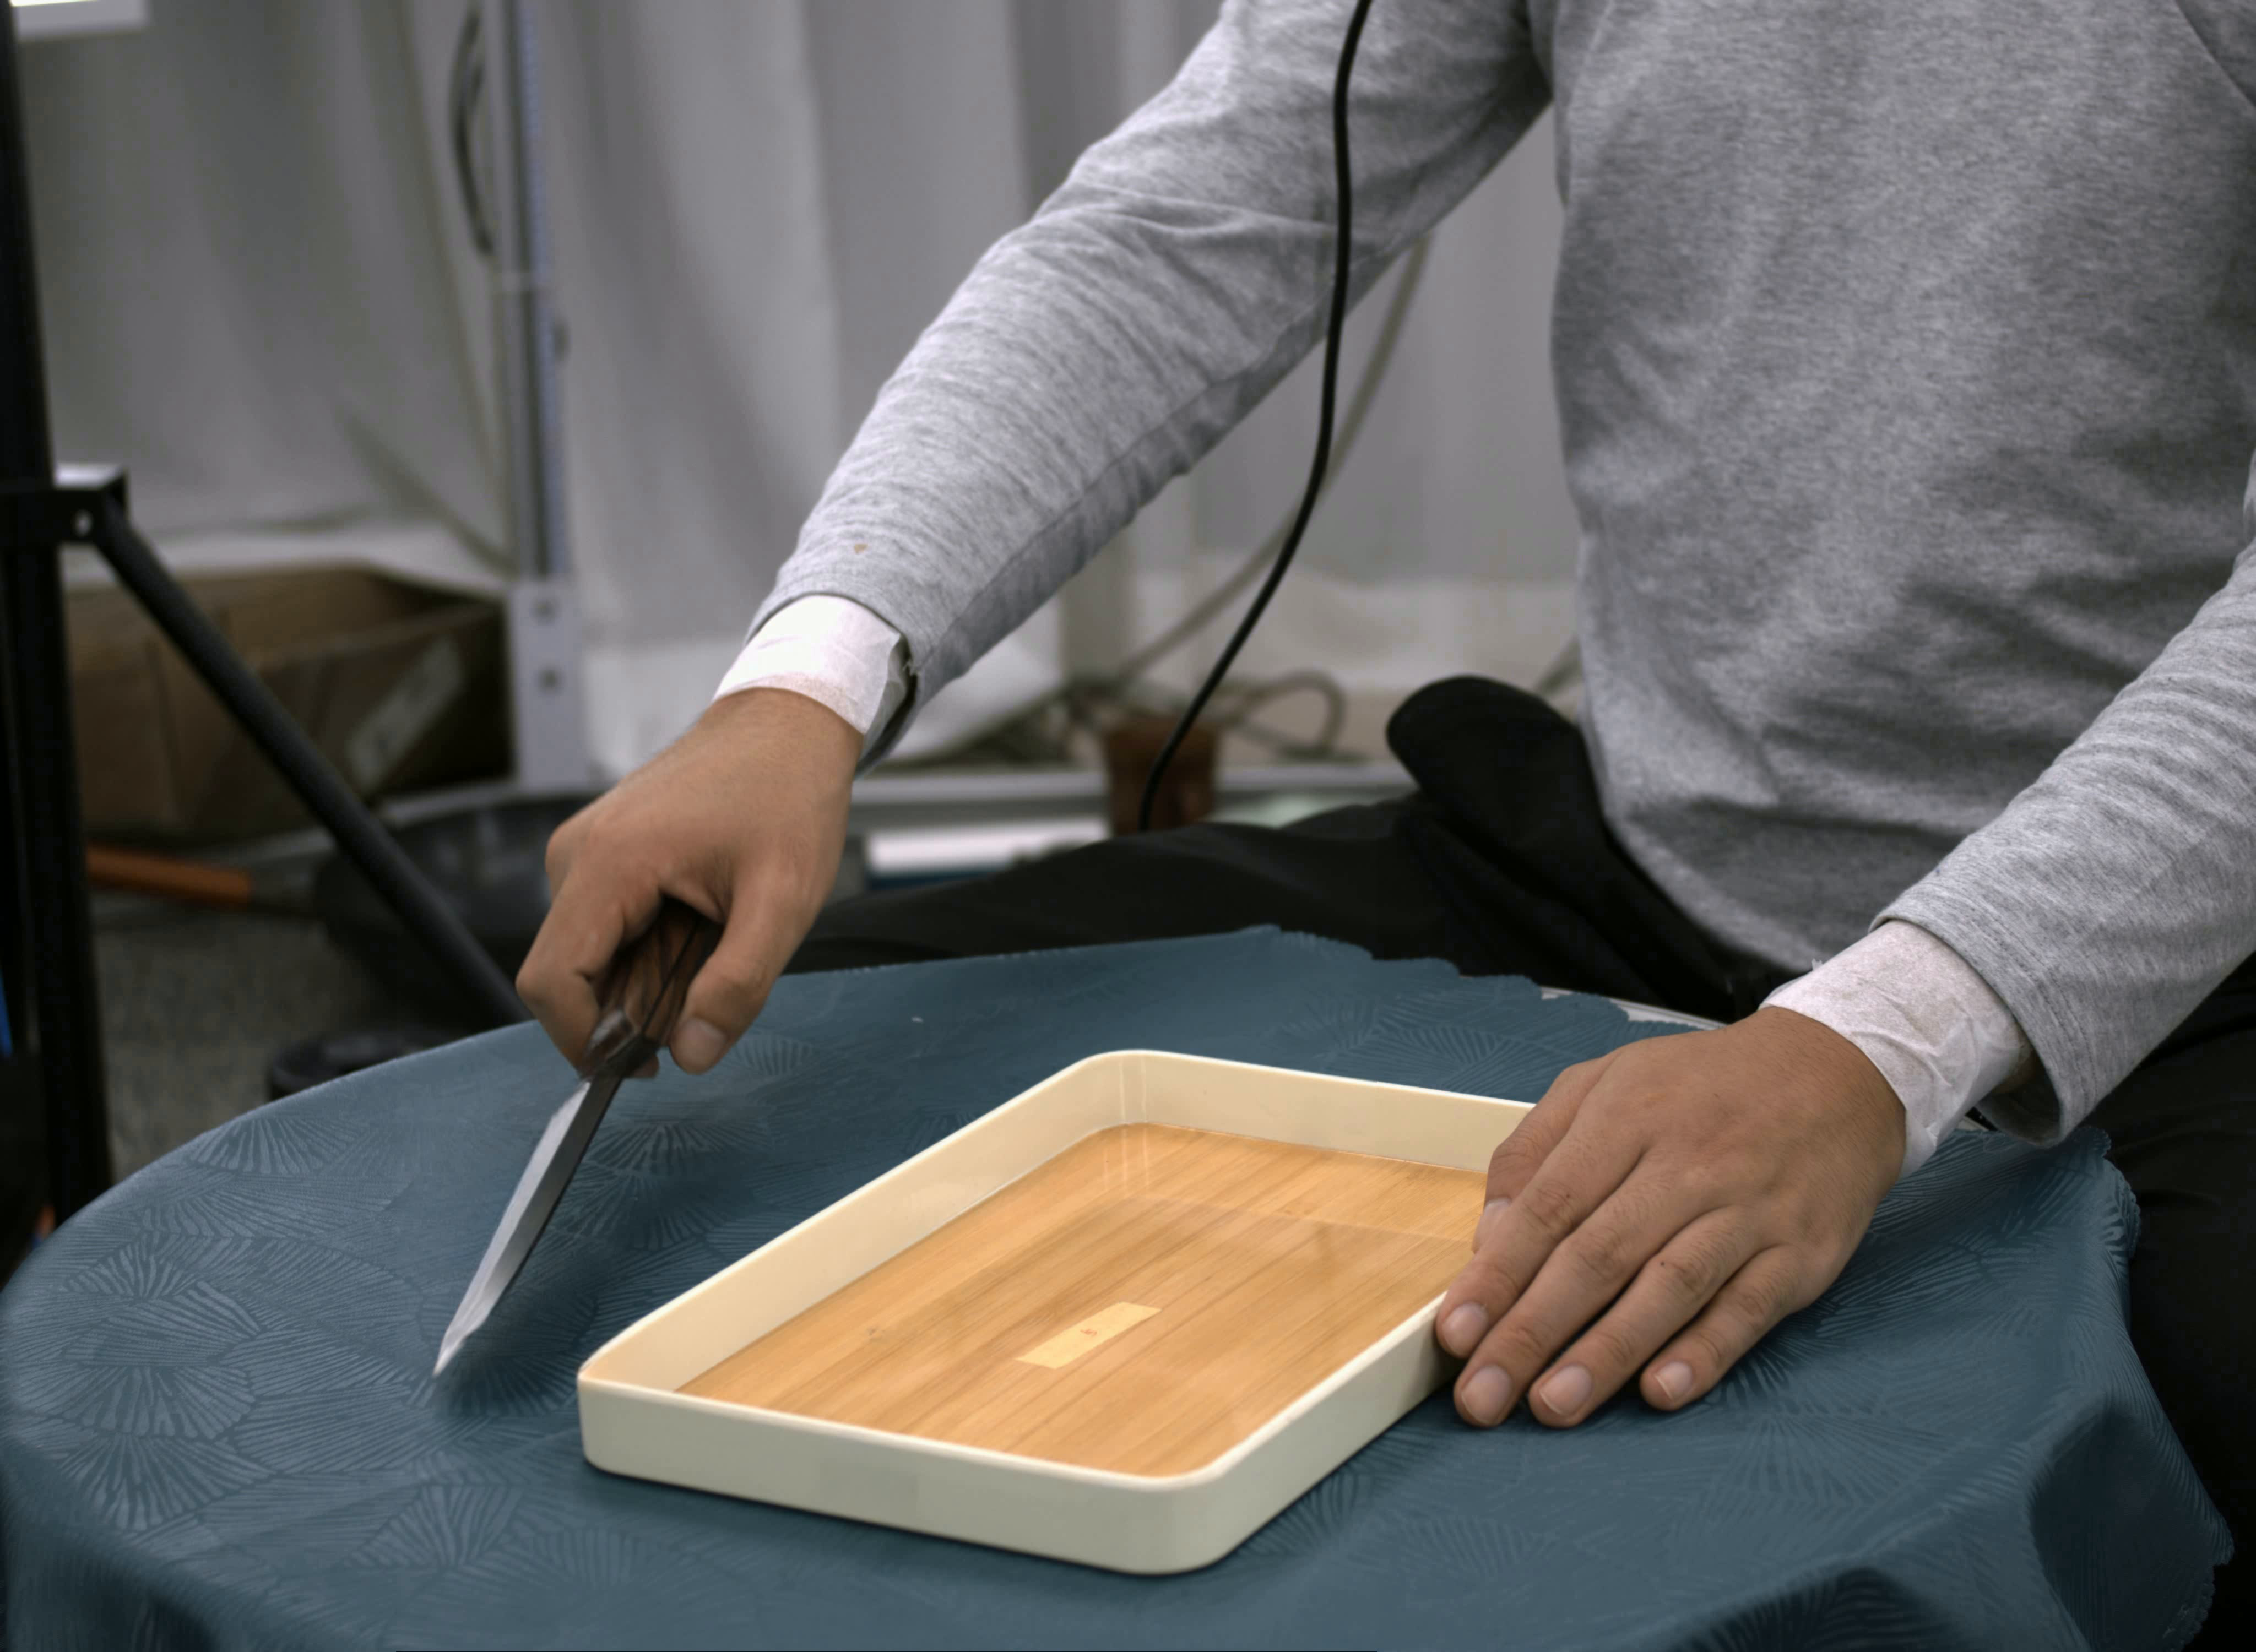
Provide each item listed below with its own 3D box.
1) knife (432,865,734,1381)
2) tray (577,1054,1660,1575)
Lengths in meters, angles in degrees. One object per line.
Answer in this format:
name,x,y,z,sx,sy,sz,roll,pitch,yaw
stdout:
knife,-0.157,0.083,1.544,0.020,0.050,0.289,39,27,-9
tray,0.006,0.127,1.448,0.195,0.027,0.295,6,18,29
